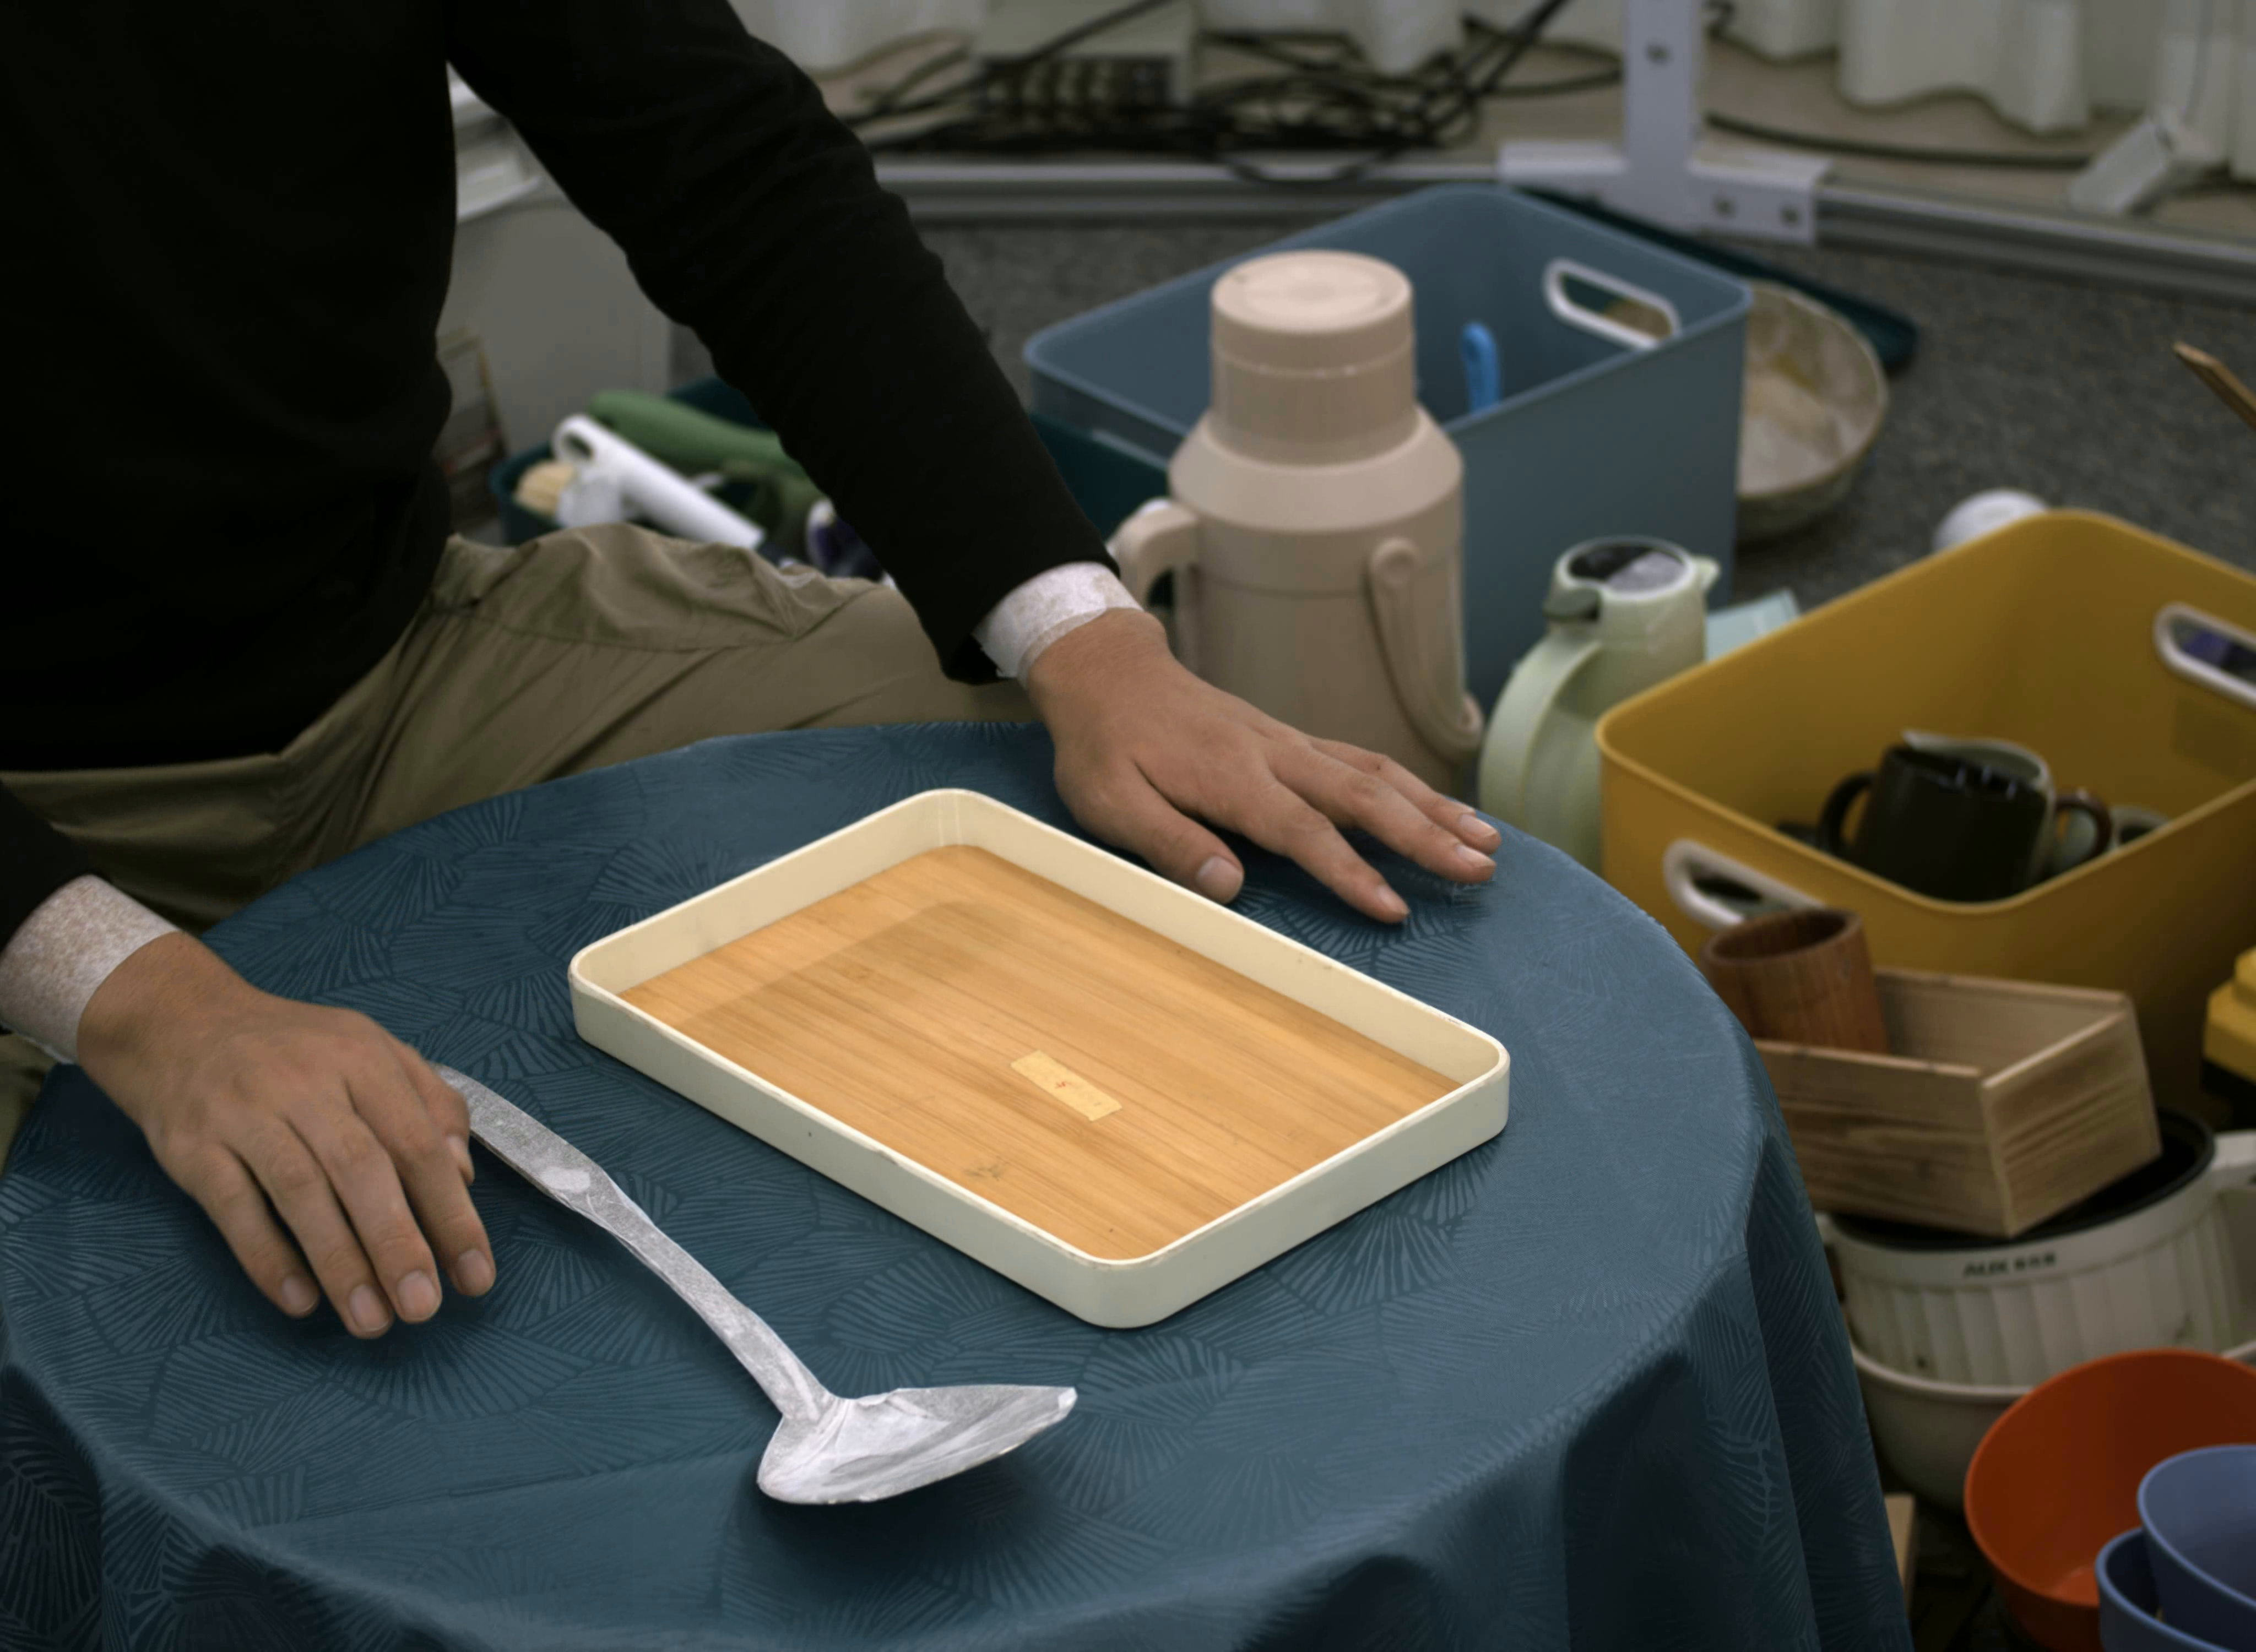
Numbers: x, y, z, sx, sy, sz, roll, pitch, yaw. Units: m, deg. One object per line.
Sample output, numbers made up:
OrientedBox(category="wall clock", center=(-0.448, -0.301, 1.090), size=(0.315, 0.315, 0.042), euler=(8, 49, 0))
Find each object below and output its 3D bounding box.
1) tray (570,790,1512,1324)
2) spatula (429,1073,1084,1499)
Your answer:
OrientedBox(category="tray", center=(-0.033, 0.074, 1.927), size=(0.194, 0.027, 0.300), euler=(-25, 34, -35))
OrientedBox(category="spatula", center=(-0.143, 0.139, 1.801), size=(0.099, 0.044, 0.366), euler=(-20, 32, -28))
